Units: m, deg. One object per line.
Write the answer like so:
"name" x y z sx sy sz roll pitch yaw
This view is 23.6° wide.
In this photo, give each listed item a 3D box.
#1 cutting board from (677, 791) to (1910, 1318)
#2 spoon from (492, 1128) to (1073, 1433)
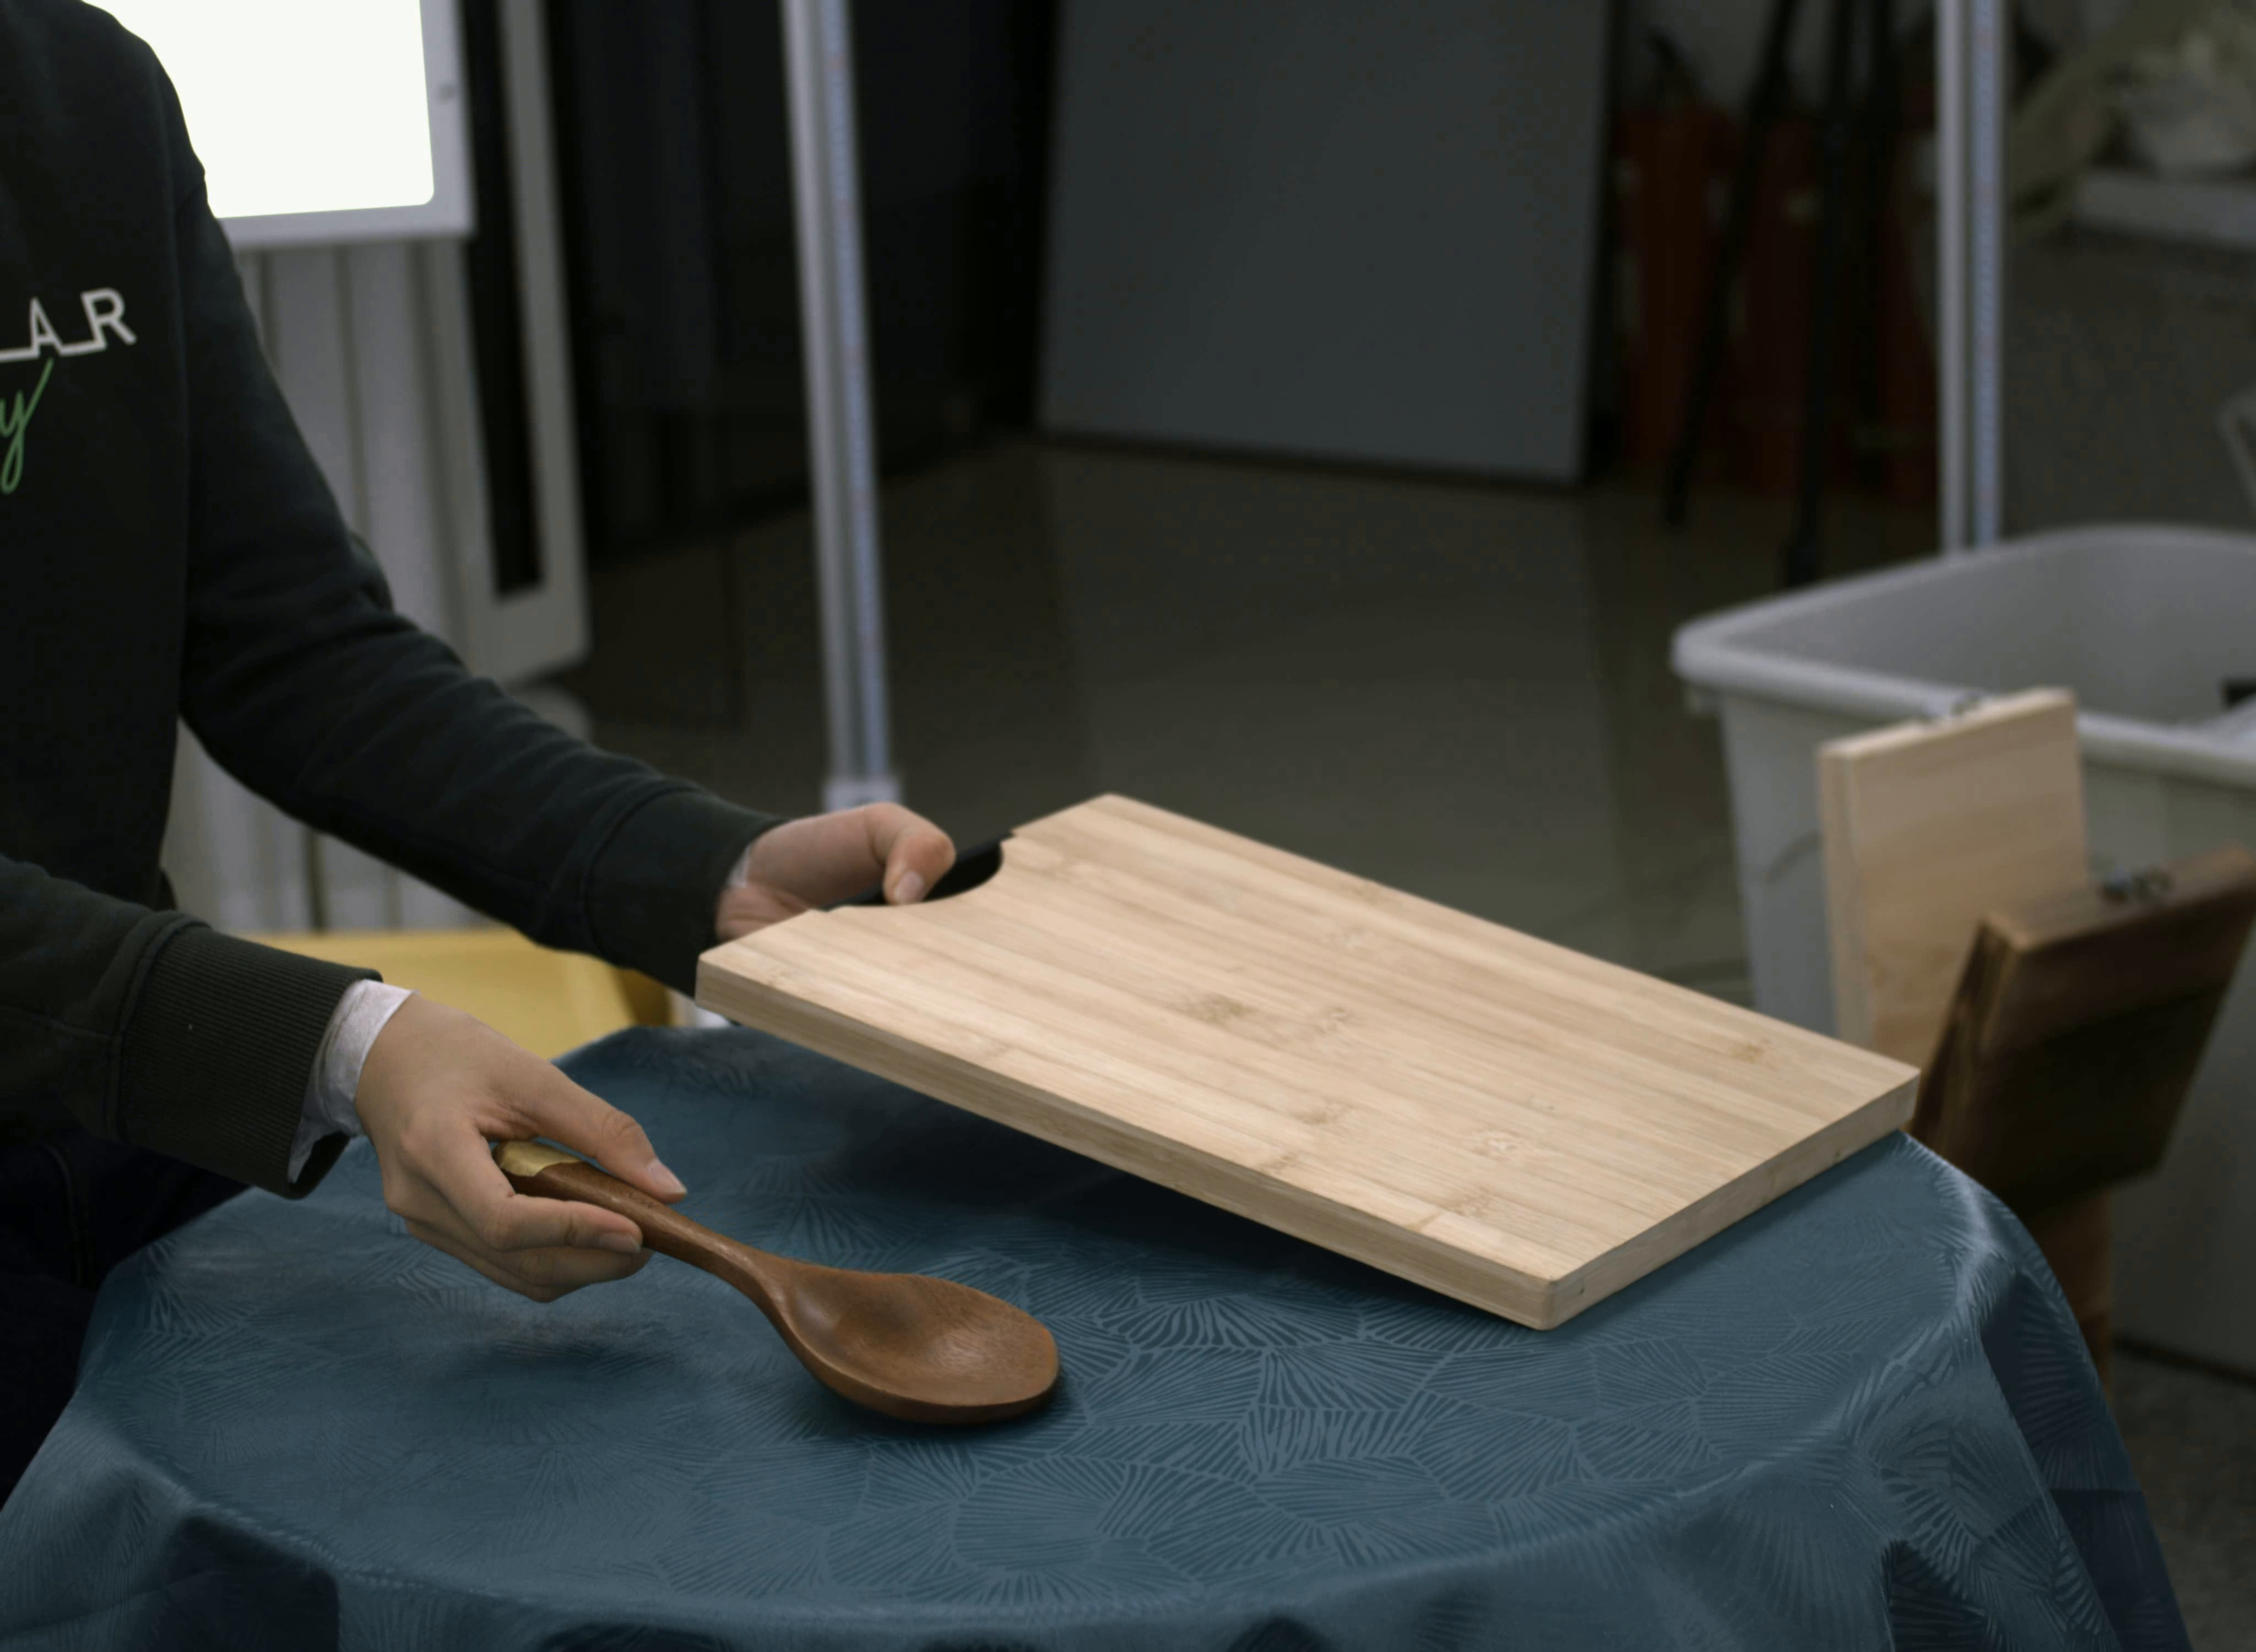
"cutting board" 0.055 0.069 1.796 0.351 0.024 0.246 18 23 32
"spoon" -0.108 0.136 1.625 0.217 0.017 0.074 23 30 32
